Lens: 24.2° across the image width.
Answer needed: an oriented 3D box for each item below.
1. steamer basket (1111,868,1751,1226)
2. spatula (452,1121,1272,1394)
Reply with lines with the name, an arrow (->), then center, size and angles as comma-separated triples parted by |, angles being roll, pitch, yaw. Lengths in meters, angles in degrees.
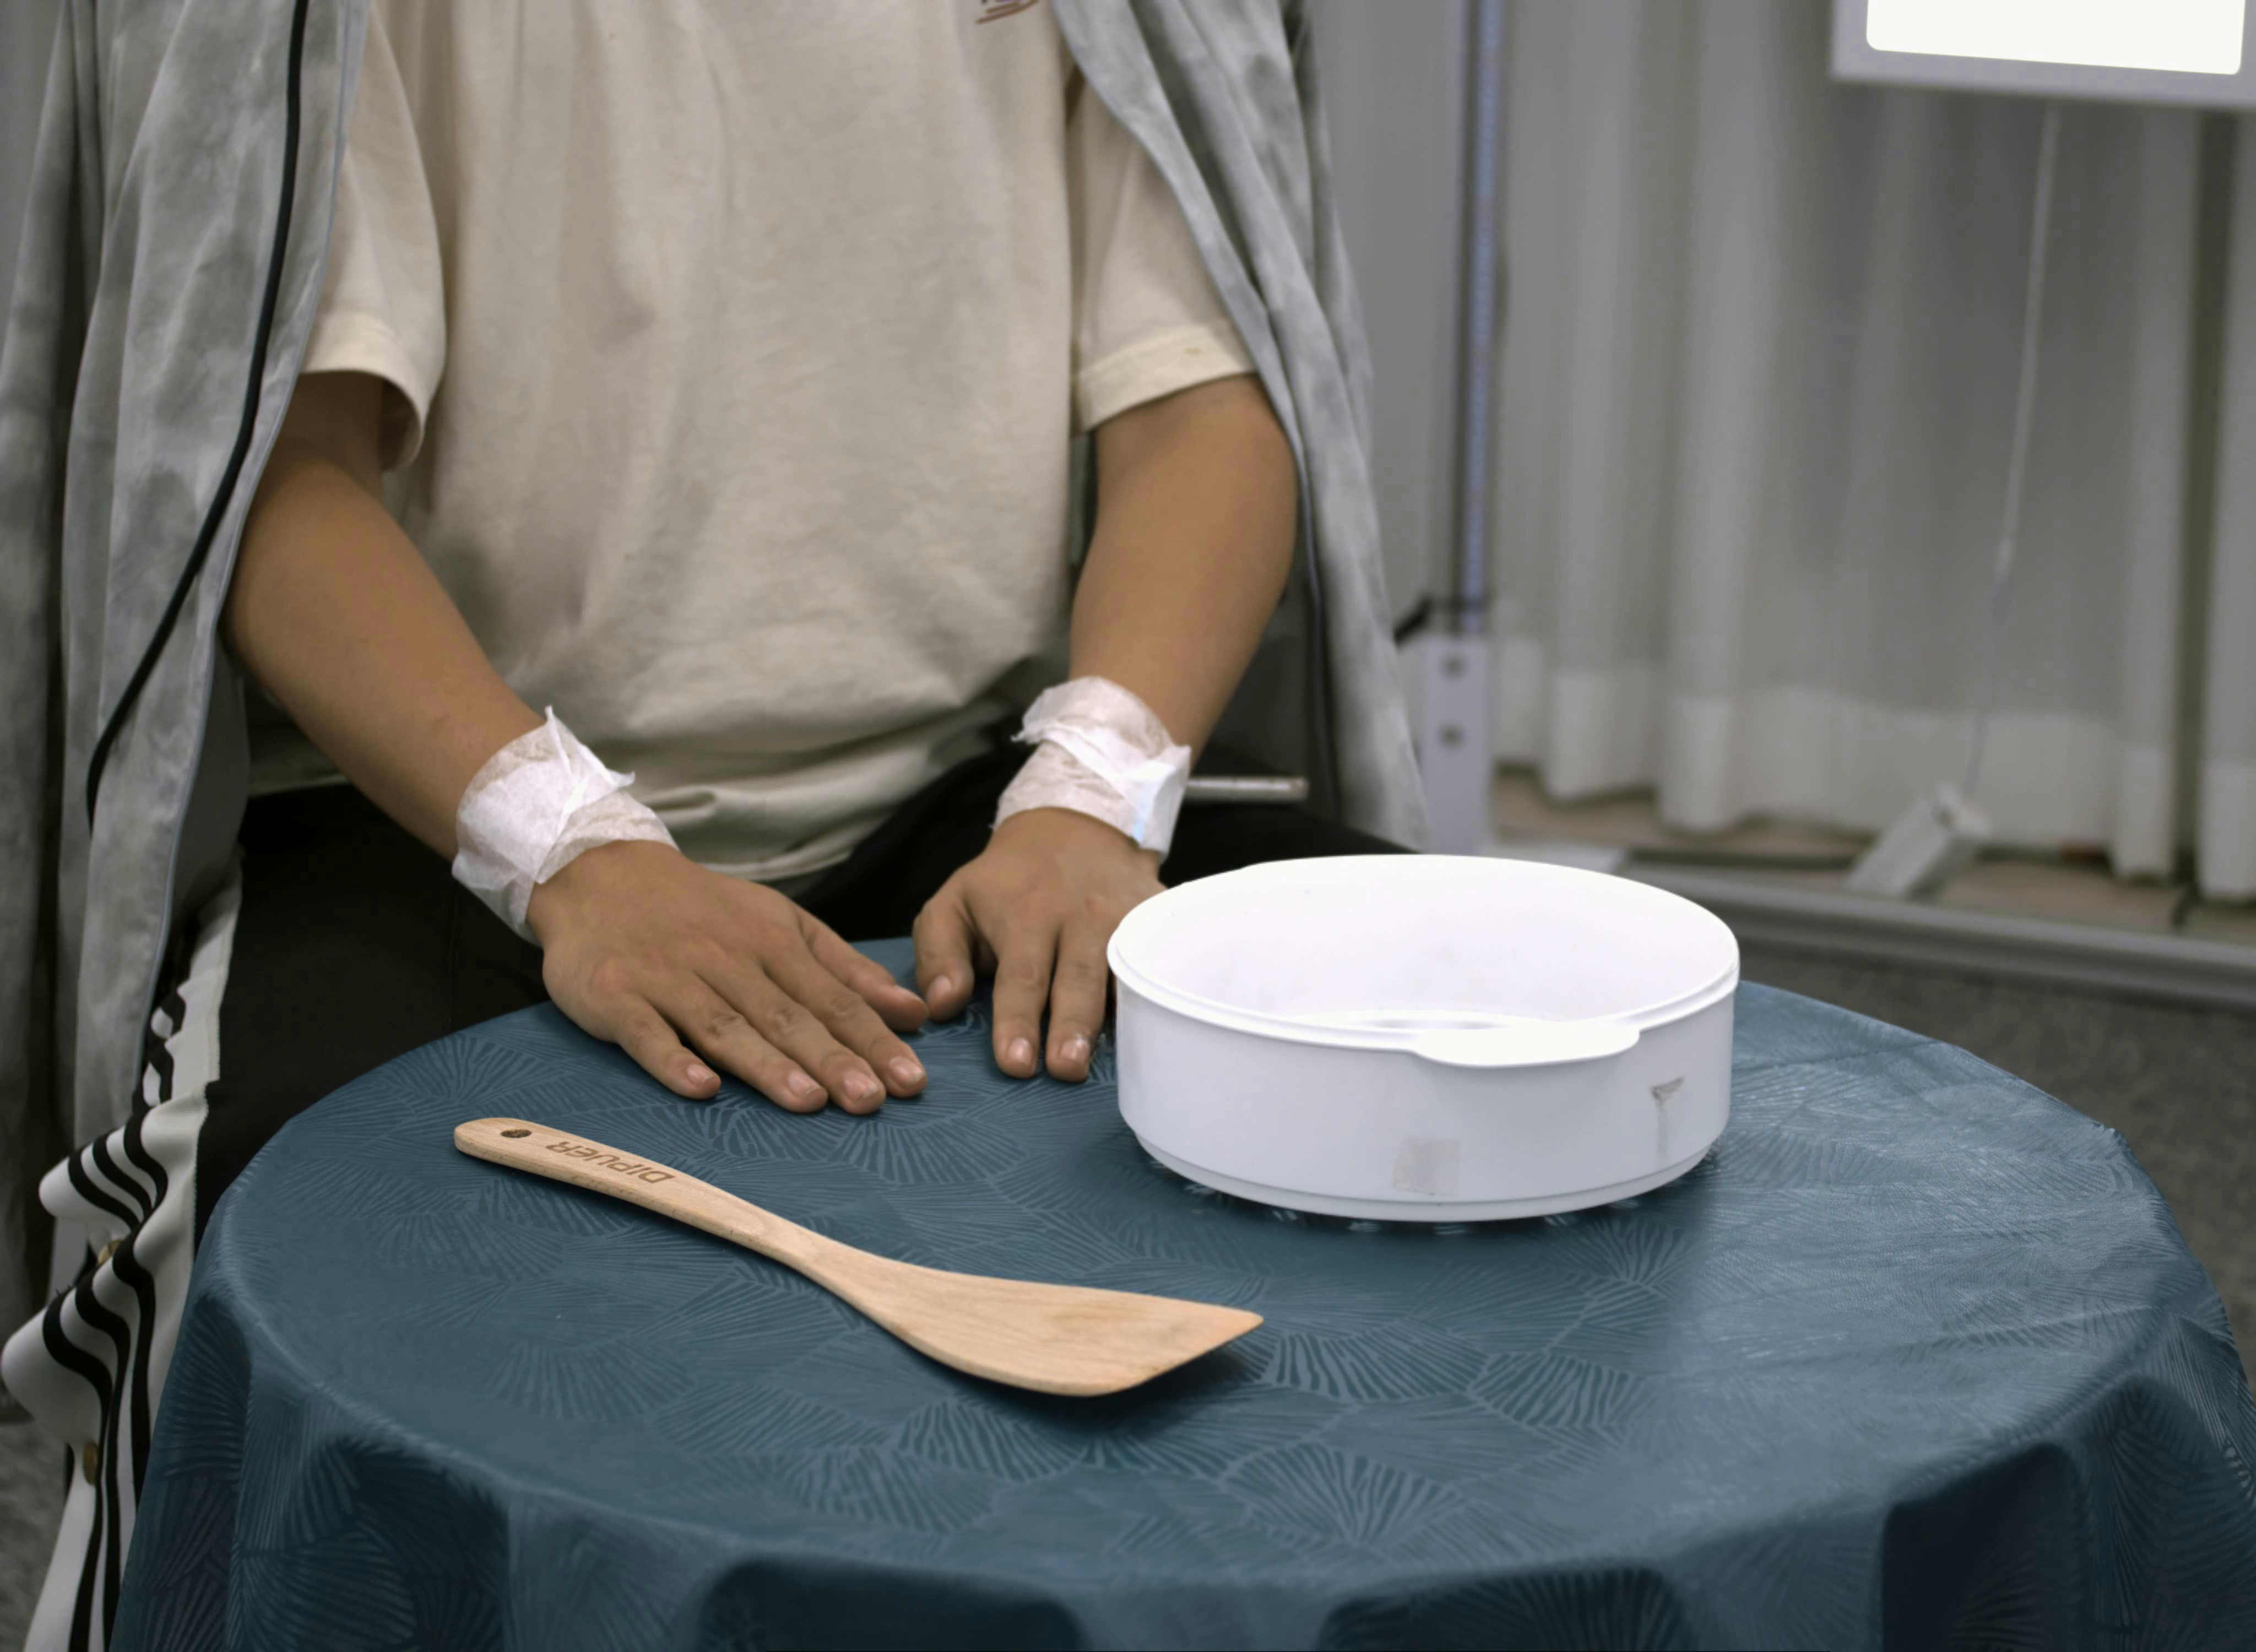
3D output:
steamer basket -> 0.095, 0.069, 1.663 | 0.202, 0.070, 0.228 | -2, 15, -15
spatula -> -0.091, 0.122, 1.554 | 0.323, 0.016, 0.080 | 14, 20, 42
